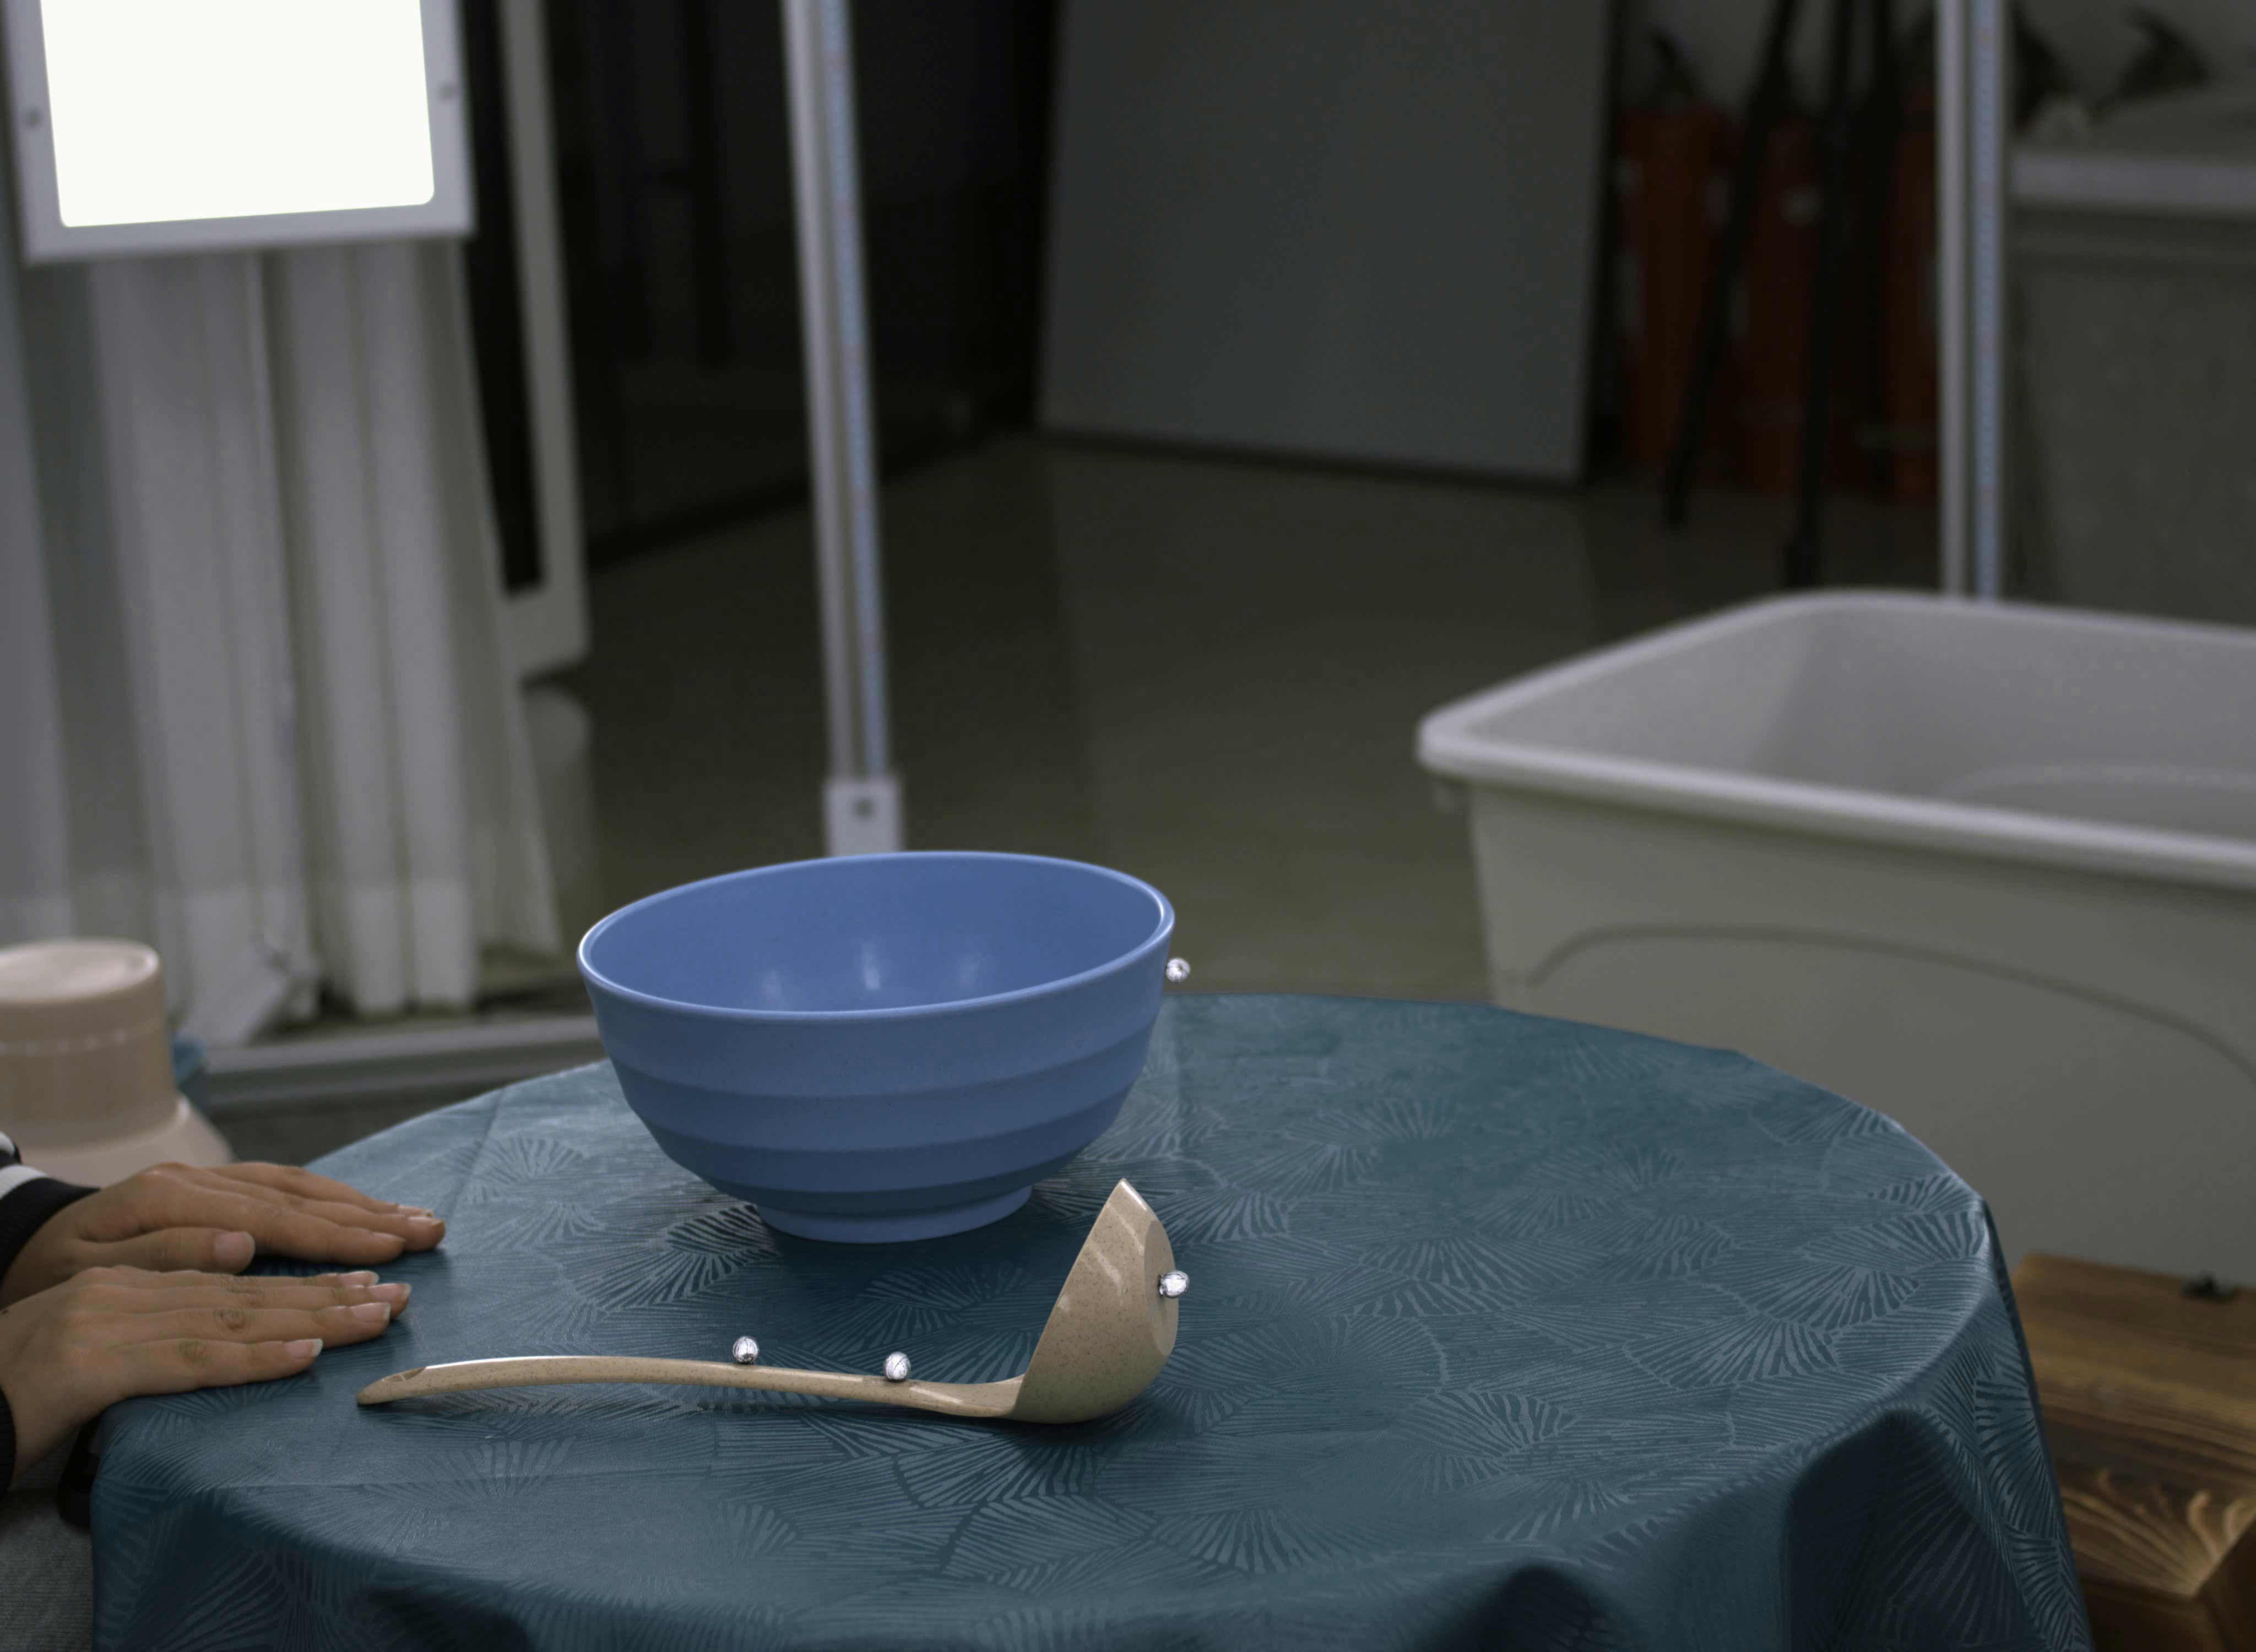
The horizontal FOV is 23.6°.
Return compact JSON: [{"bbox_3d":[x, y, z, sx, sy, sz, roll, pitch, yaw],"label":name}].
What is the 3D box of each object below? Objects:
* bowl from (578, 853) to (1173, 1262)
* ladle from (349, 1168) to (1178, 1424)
[{"bbox_3d":[-0.079,0.082,1.768,0.194,0.096,0.197,-4,15,0],"label":"bowl"},{"bbox_3d":[-0.111,0.138,1.581,0.253,0.073,0.072,-1,13,13],"label":"ladle"}]
